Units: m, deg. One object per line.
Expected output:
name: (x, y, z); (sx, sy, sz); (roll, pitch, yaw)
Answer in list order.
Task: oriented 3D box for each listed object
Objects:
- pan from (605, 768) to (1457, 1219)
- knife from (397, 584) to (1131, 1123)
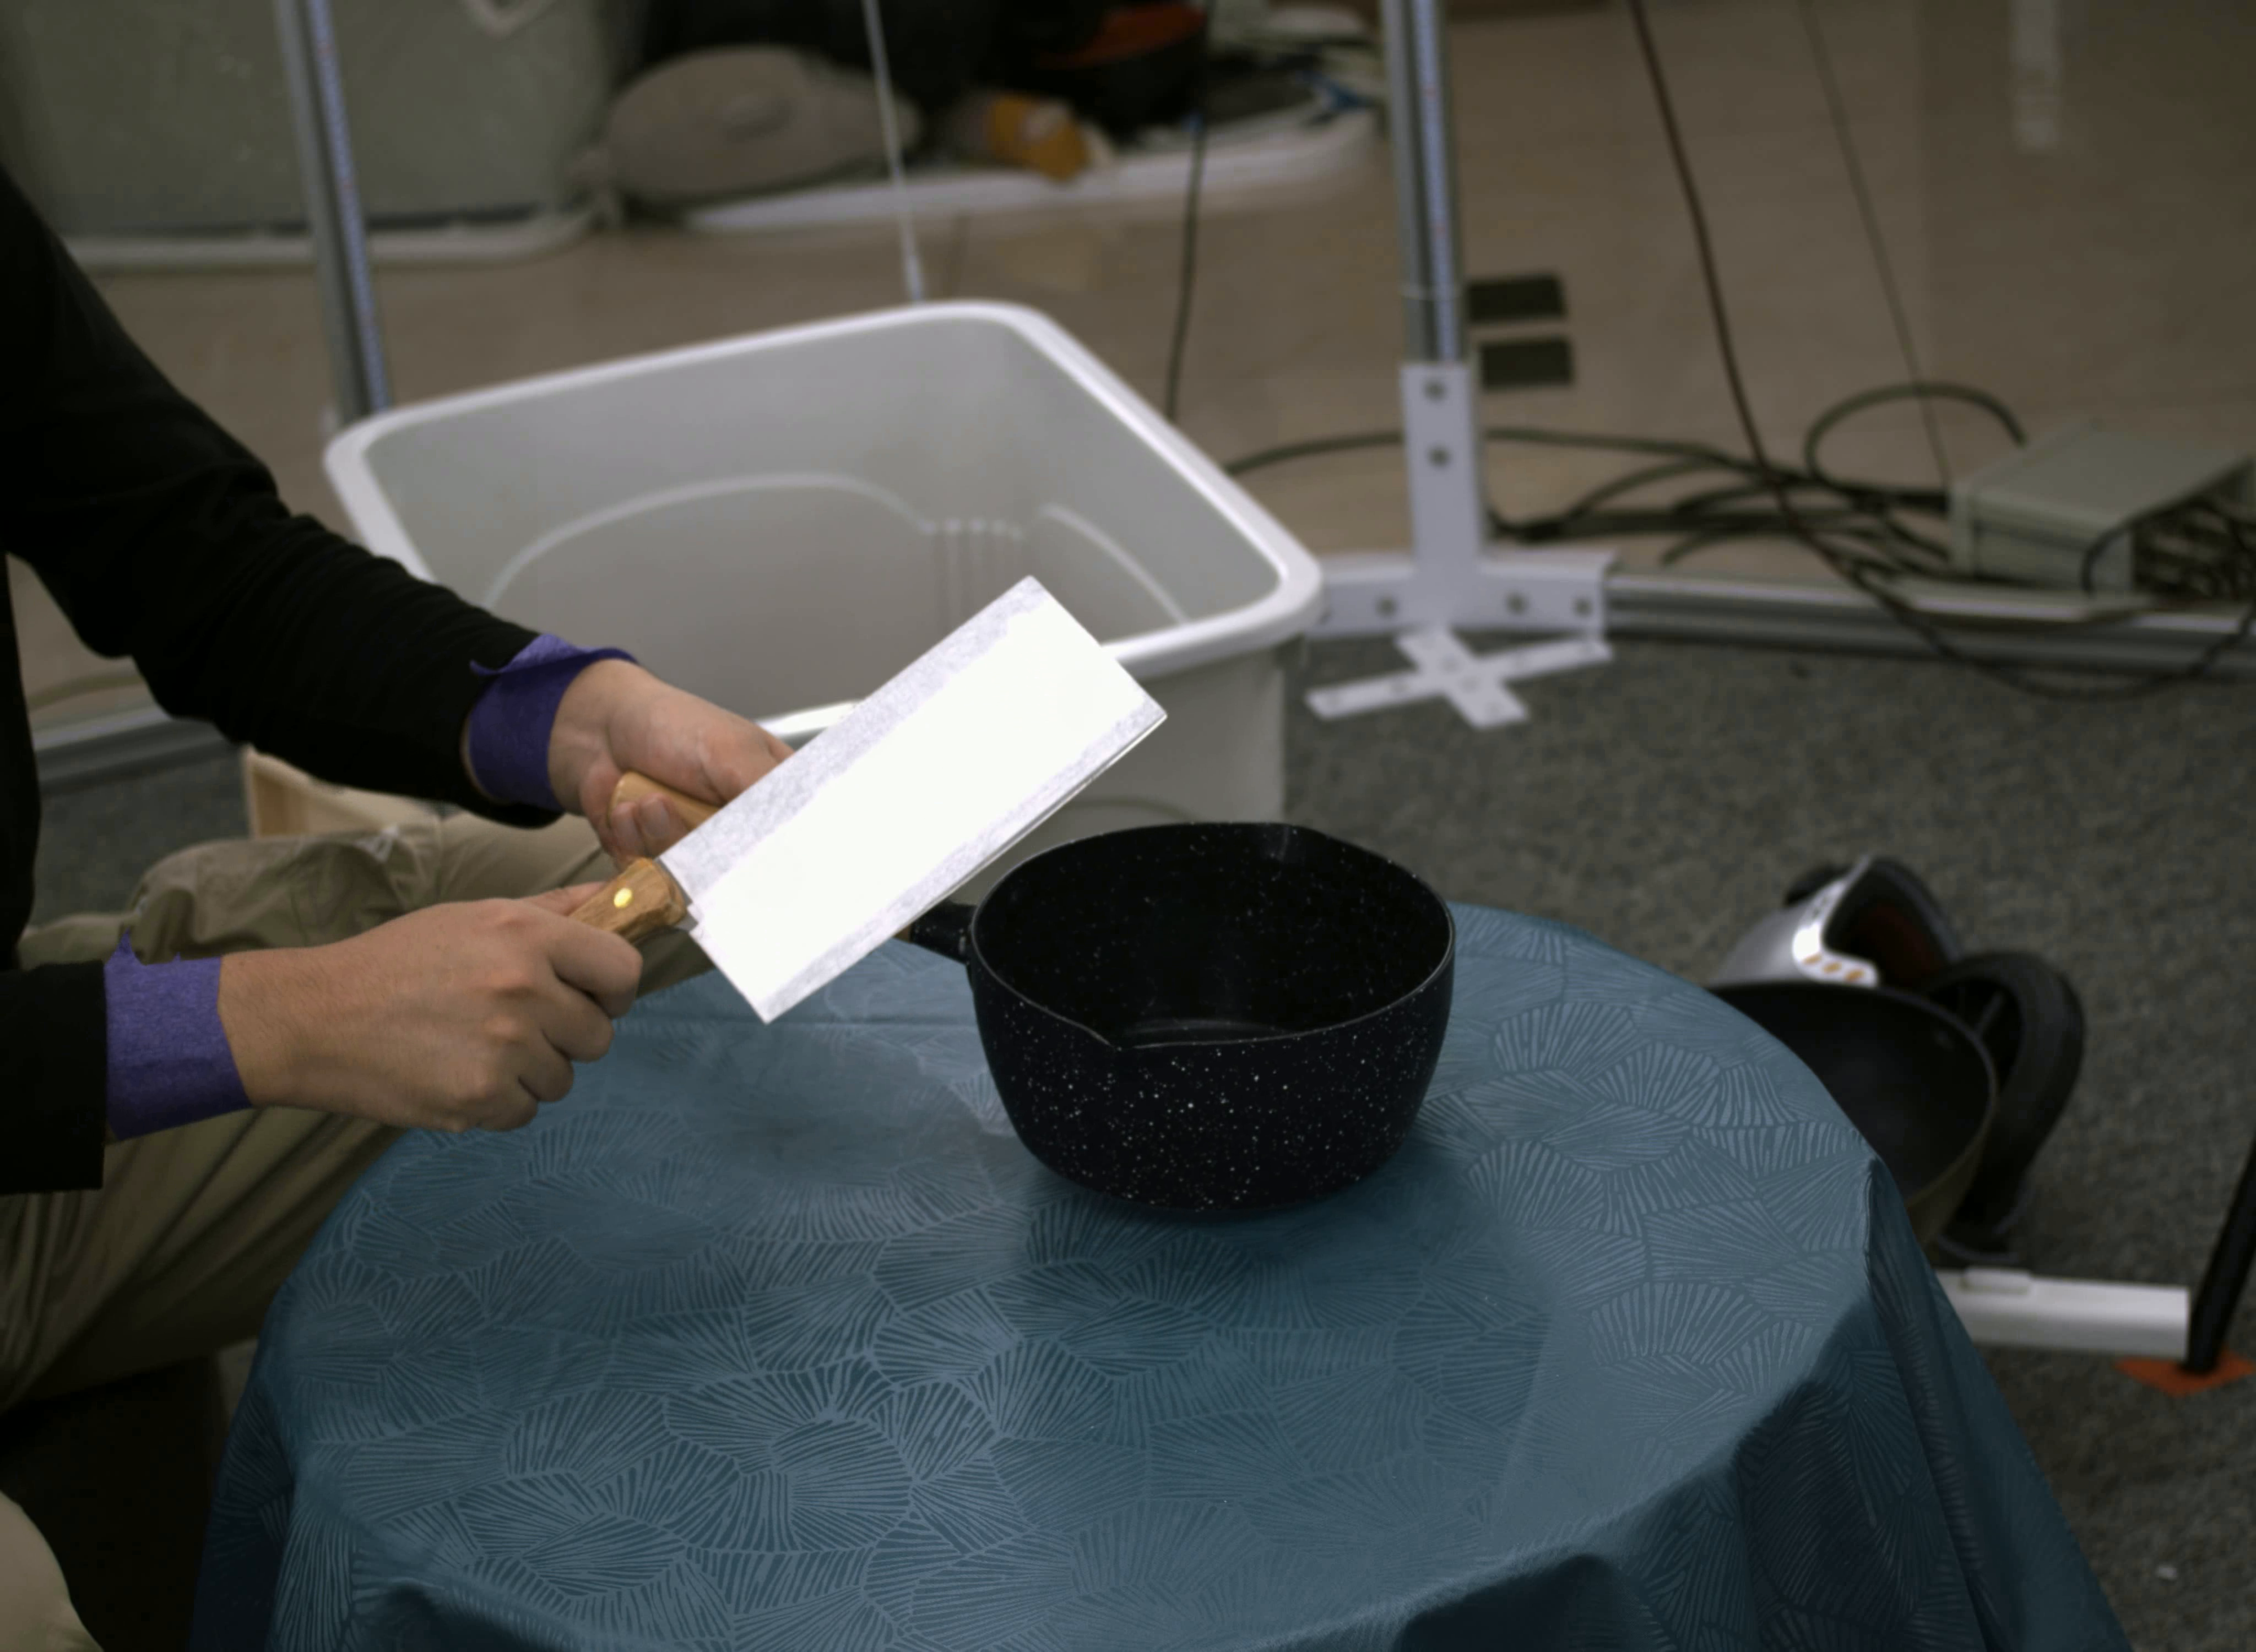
pan: (-0.044, 0.055, 2.177); (0.341, 0.110, 0.204); (9, 28, 16)
knife: (-0.130, 0.023, 2.102); (0.305, 0.021, 0.092); (-37, 59, -7)
